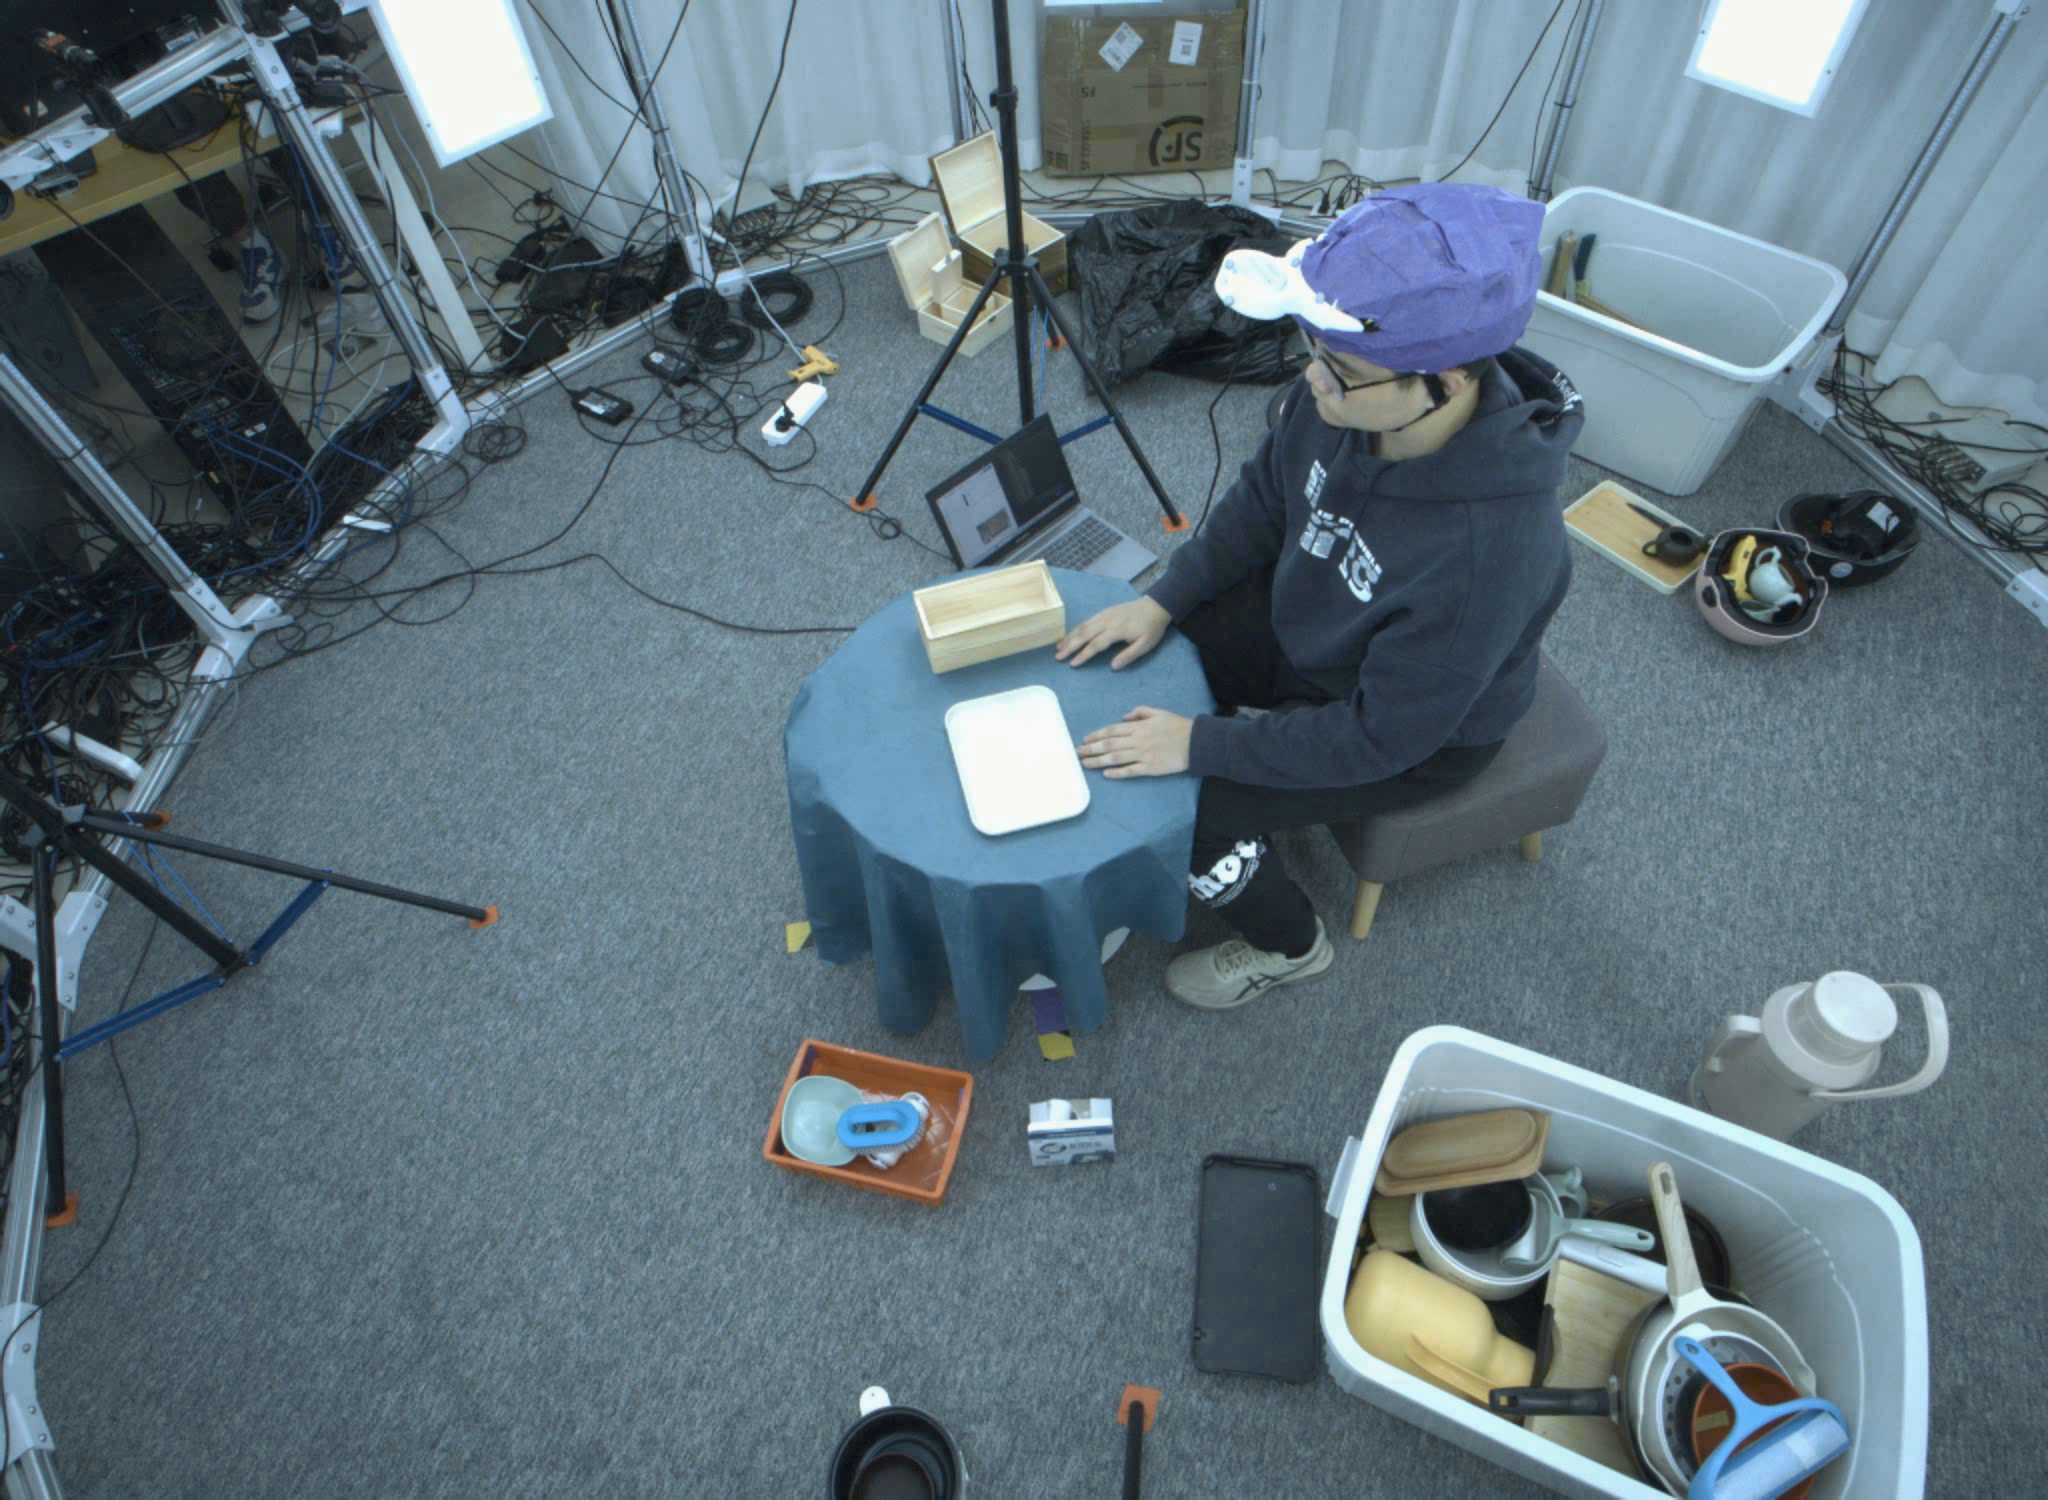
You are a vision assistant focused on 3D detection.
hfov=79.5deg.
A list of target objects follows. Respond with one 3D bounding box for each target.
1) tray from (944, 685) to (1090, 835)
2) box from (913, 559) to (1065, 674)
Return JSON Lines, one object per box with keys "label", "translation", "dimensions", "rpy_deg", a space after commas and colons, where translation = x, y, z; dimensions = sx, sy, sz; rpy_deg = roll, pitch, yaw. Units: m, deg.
{"label": "tray", "translation": [-0.012, 0.013, 1.769], "dimensions": [0.172, 0.017, 0.236], "rpy_deg": [-13, 55, -8]}
{"label": "box", "translation": [-0.053, -0.206, 1.885], "dimensions": [0.213, 0.081, 0.106], "rpy_deg": [-16, 56, -9]}
